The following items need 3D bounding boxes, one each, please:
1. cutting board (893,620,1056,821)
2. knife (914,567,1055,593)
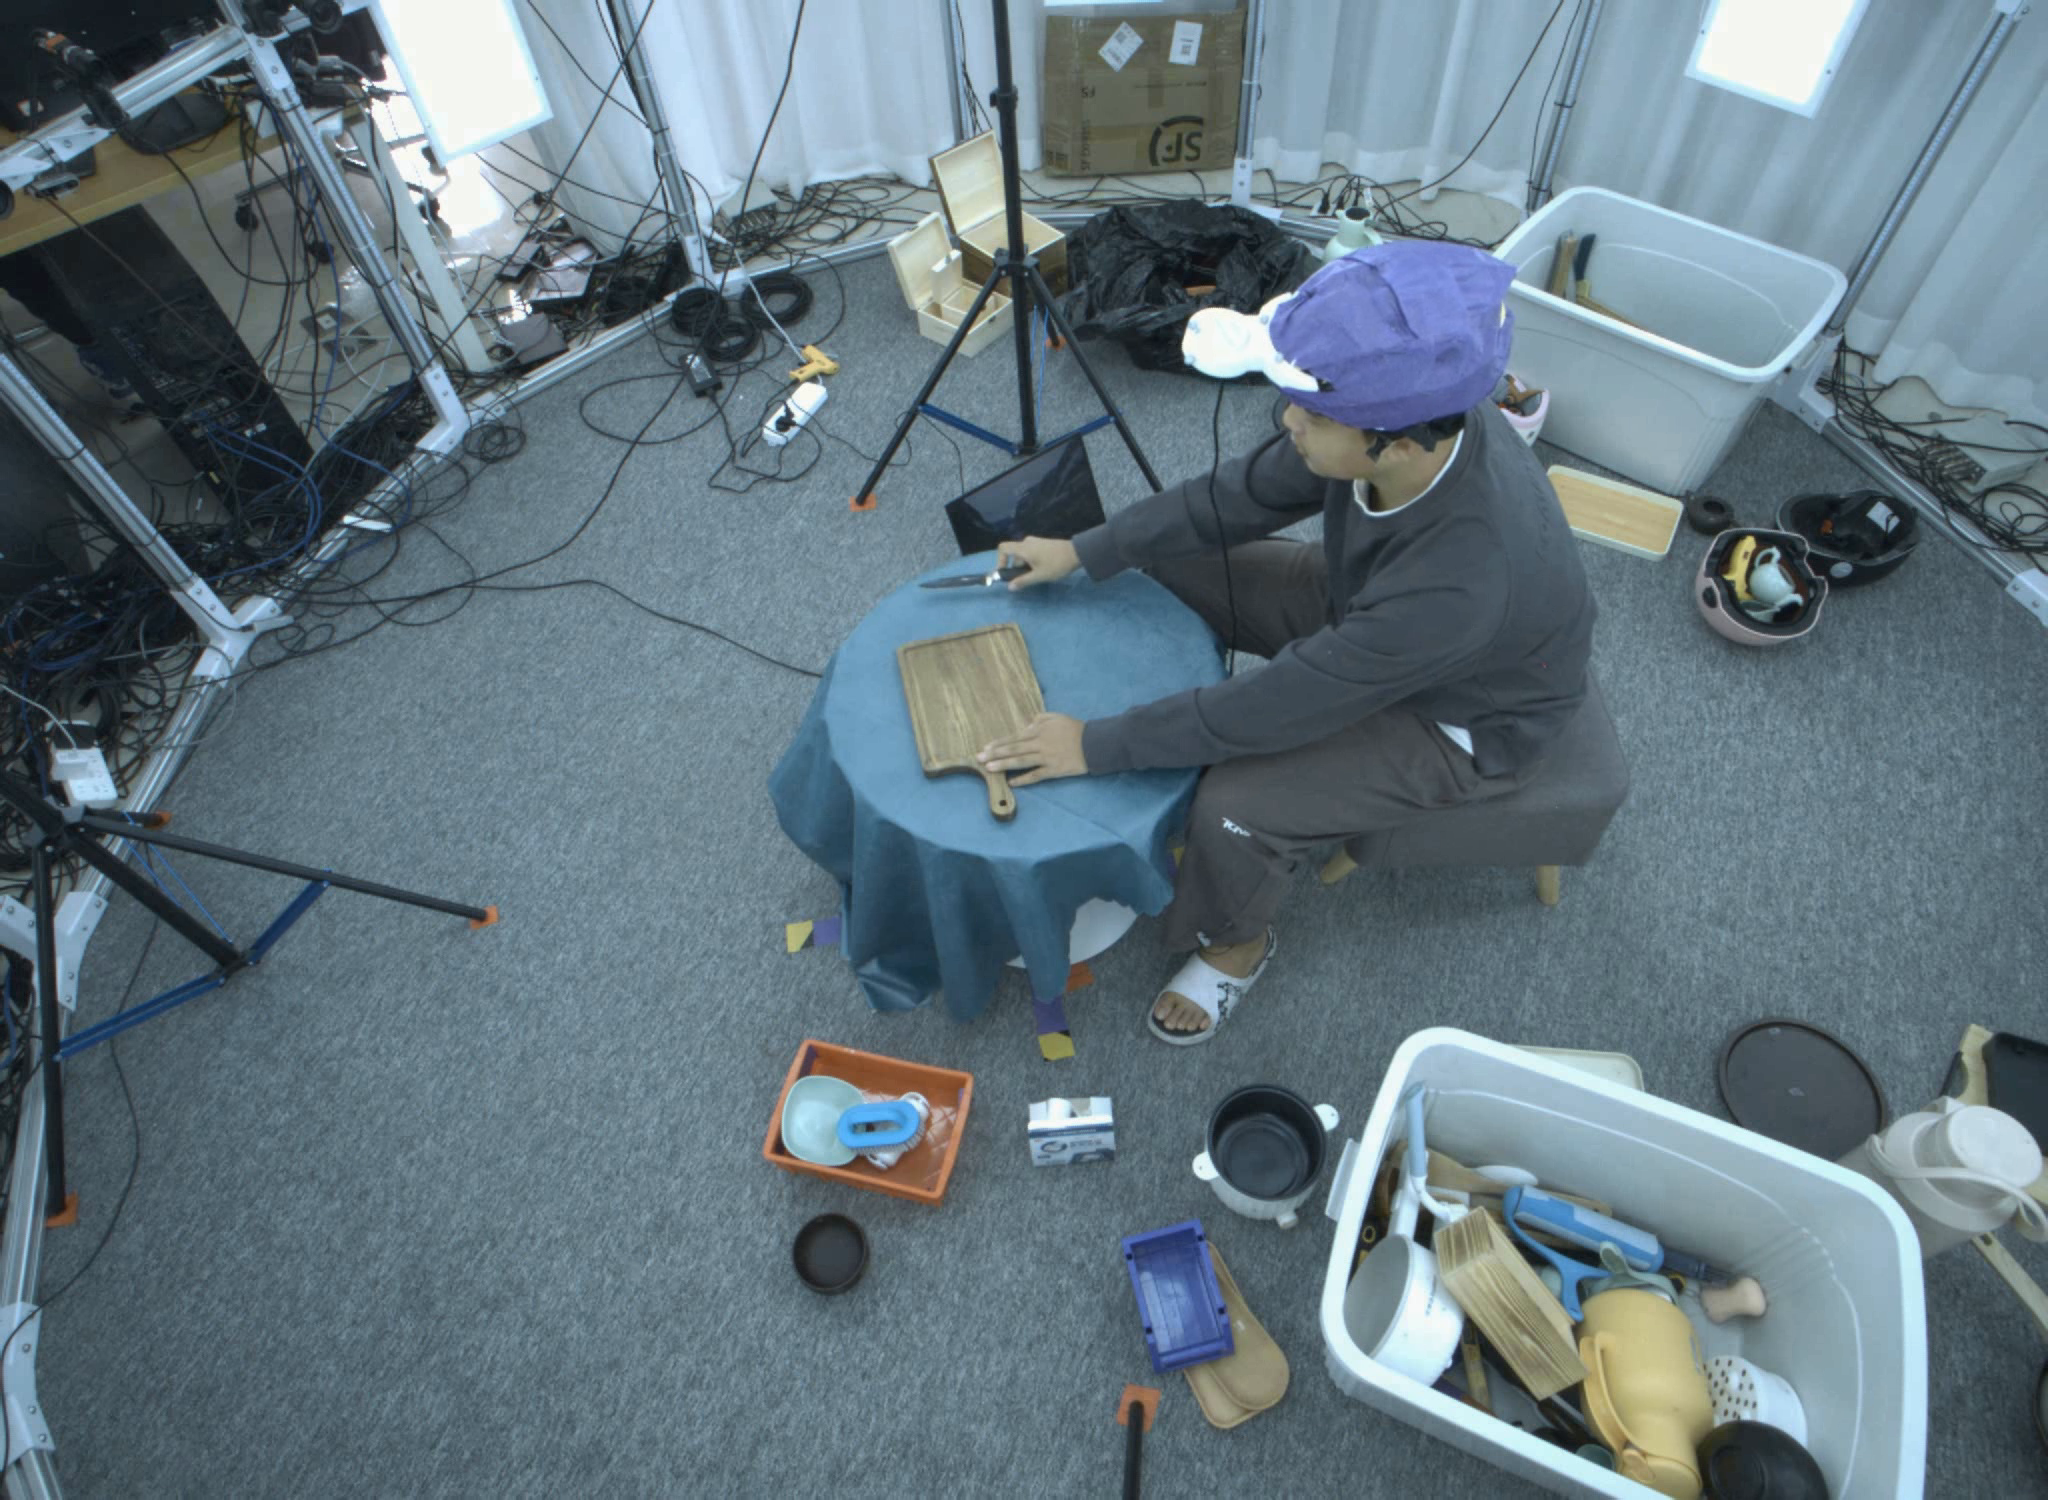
[{"bbox_3d":[-0.066,-0.042,1.806,0.202,0.023,0.346,-12,56,-7],"label":"cutting board"},{"bbox_3d":[-0.064,-0.270,1.946,0.226,0.017,0.026,-6,76,-2],"label":"knife"}]
